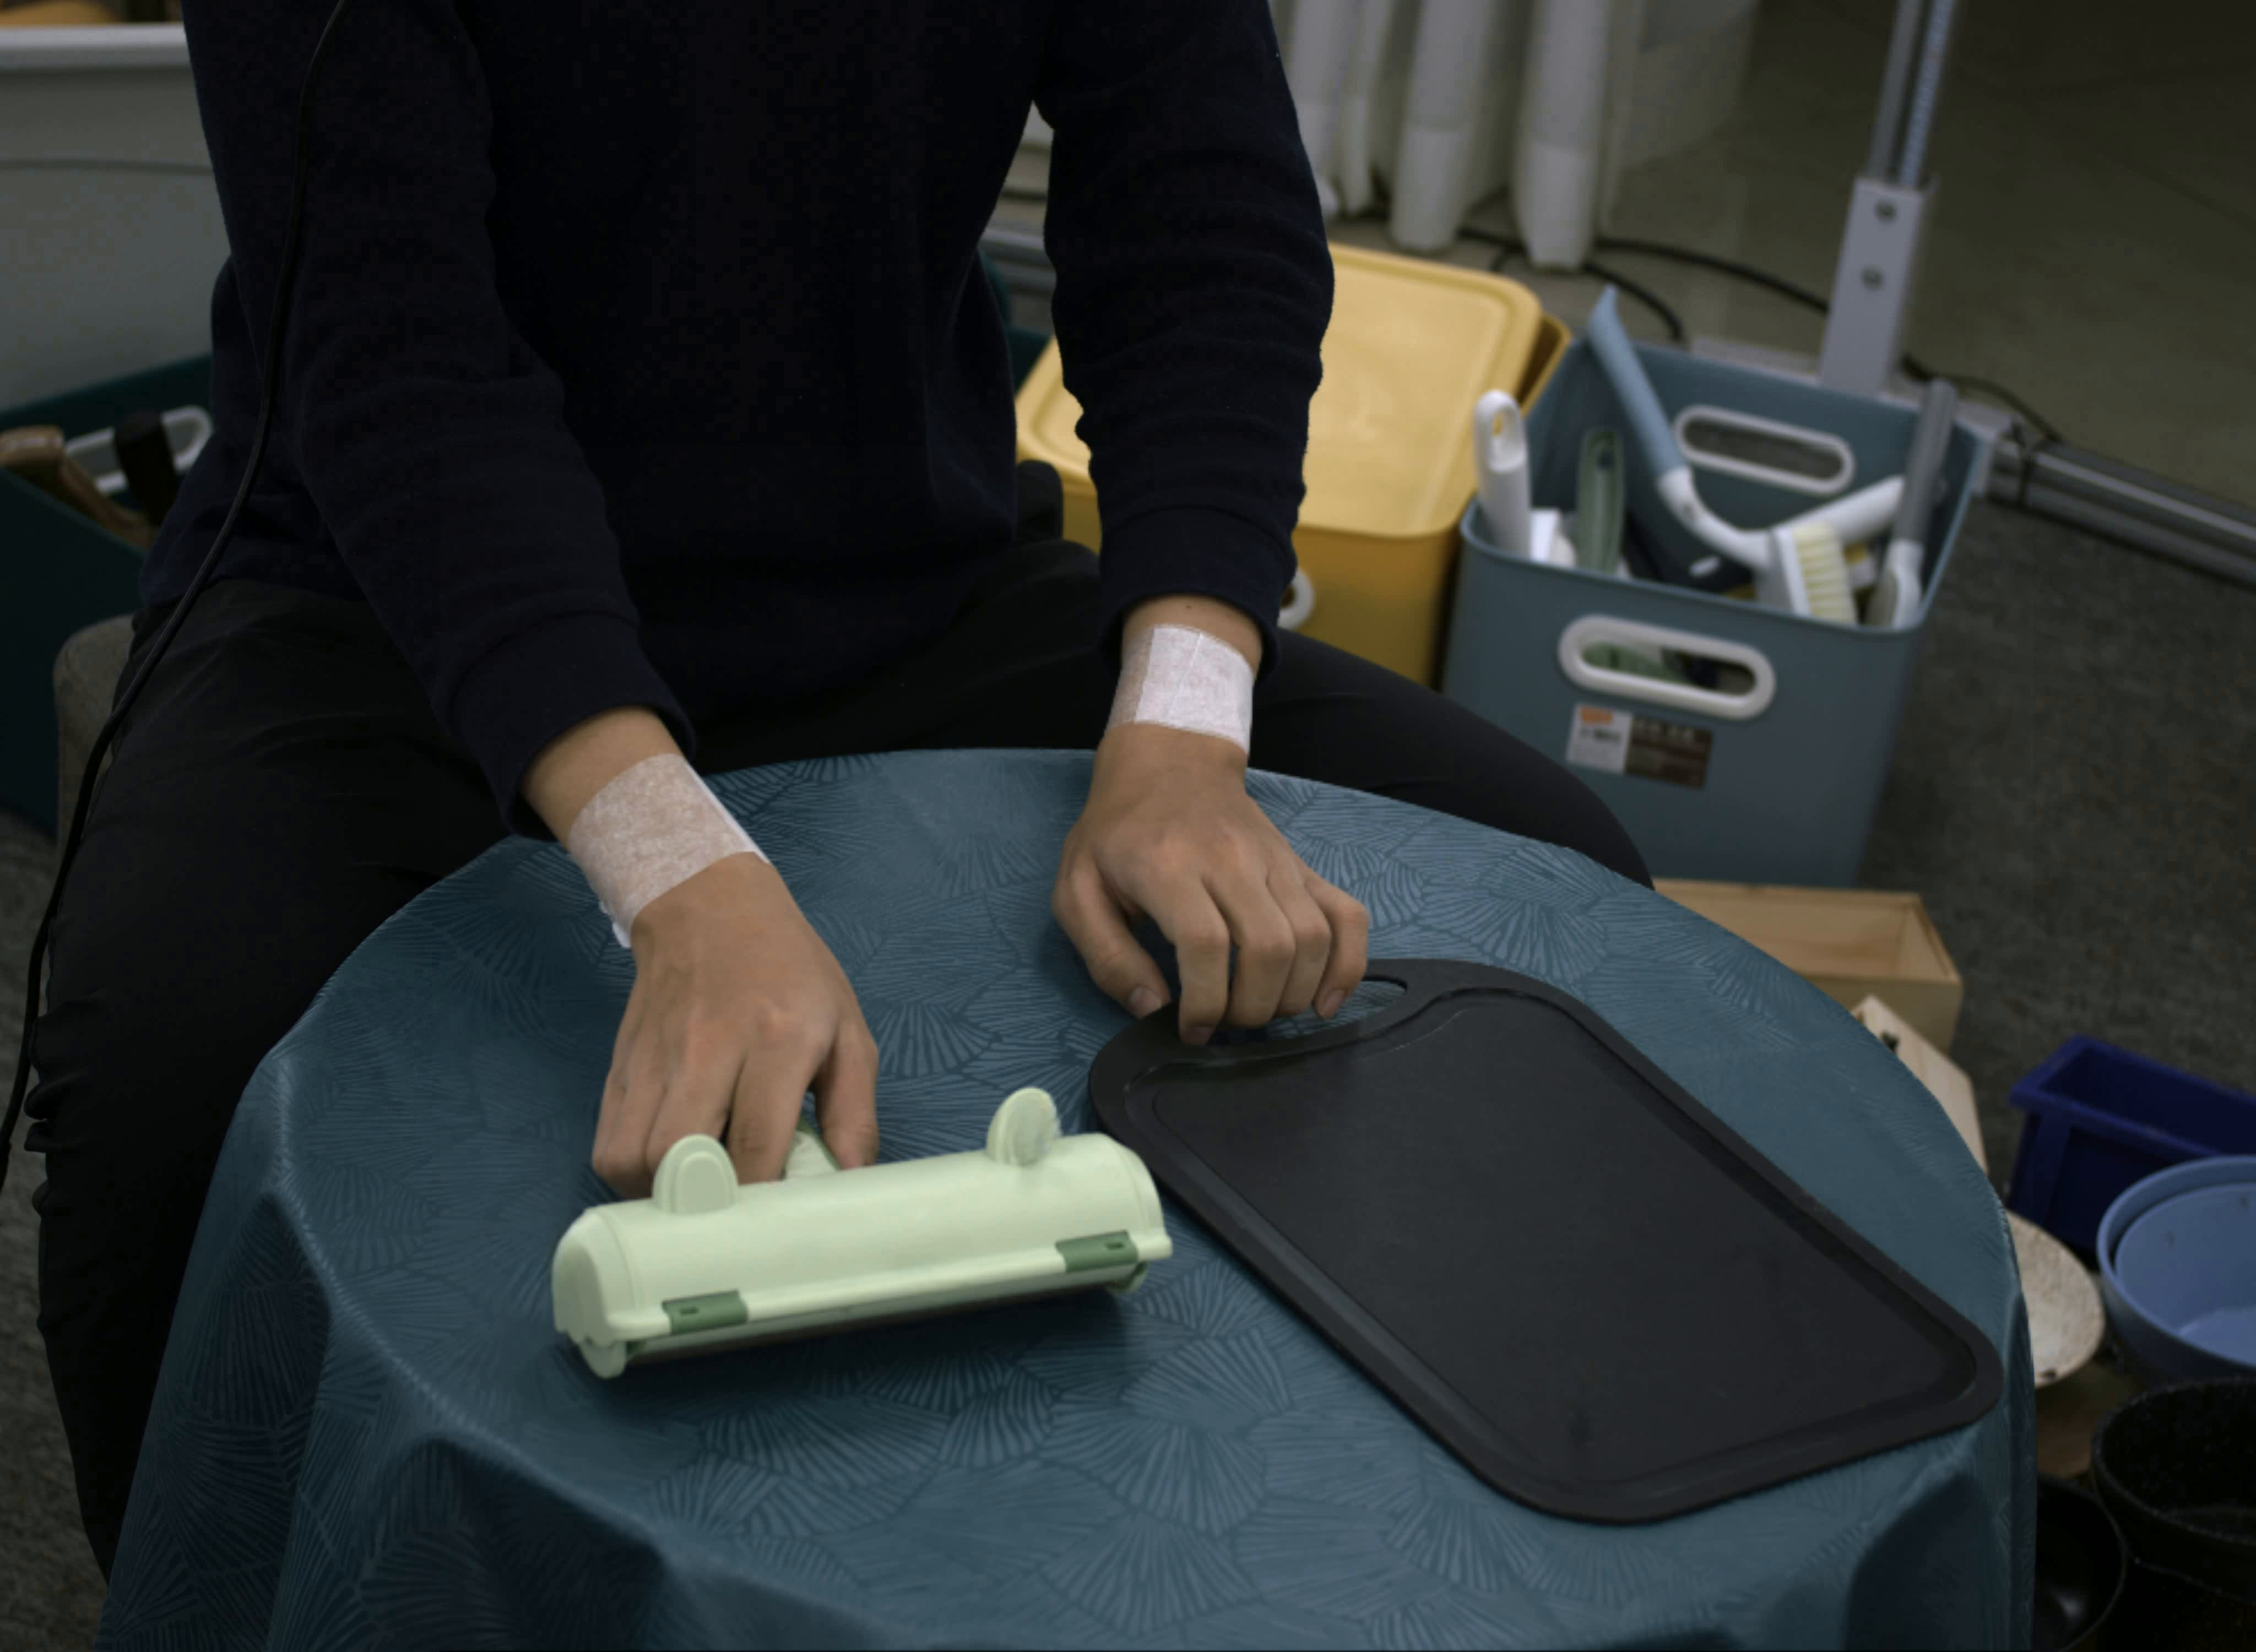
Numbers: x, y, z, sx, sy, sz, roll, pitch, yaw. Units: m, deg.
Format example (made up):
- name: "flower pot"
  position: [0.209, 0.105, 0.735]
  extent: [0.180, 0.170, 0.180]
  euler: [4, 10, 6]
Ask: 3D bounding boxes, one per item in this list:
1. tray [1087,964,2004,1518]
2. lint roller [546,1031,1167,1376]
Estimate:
- name: "tray"
  position: [0.132, 0.130, 1.805]
  extent: [0.210, 0.010, 0.328]
  euler: [-11, 34, -31]
- name: "lint roller"
  position: [-0.109, 0.099, 1.733]
  extent: [0.197, 0.082, 0.185]
  euler: [-7, 36, -26]
